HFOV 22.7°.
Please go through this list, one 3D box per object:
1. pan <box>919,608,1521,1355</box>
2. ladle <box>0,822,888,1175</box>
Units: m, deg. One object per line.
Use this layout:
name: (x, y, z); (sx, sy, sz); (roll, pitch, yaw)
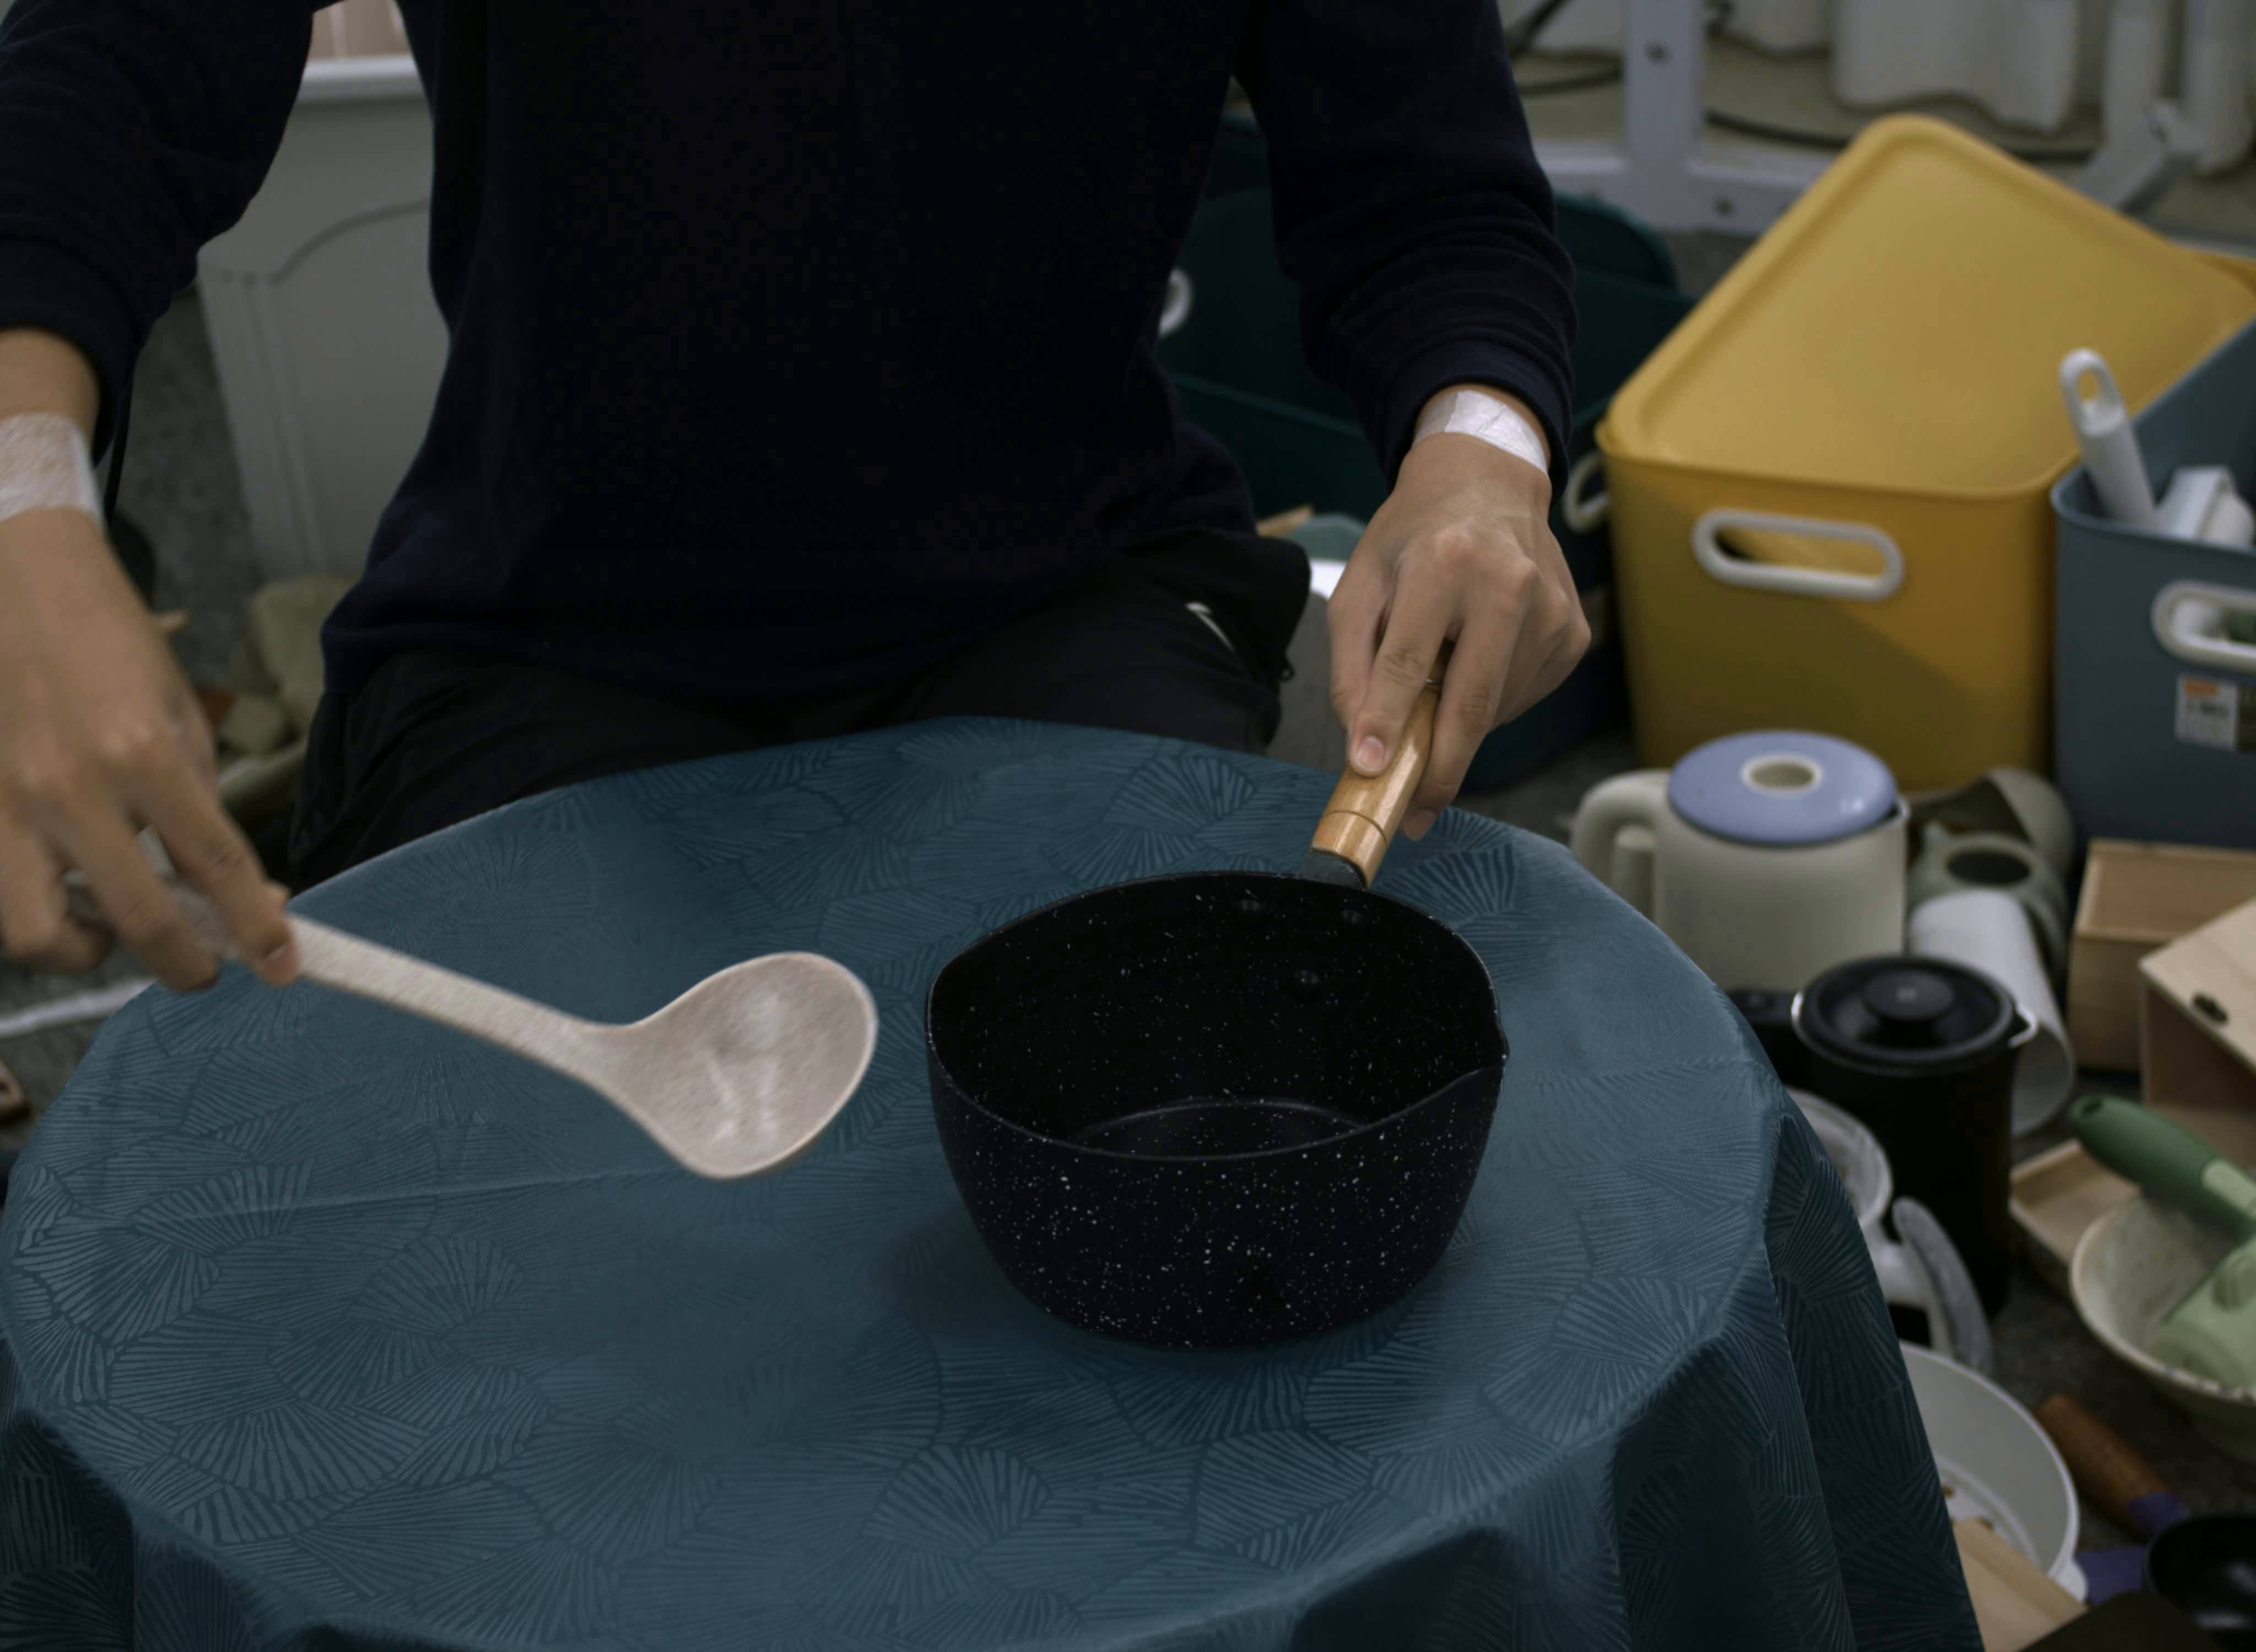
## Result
pan: (0.055, 0.048, 1.882); (0.206, 0.107, 0.349); (6, 30, 19)
ladle: (-0.206, 0.035, 1.719); (0.274, 0.068, 0.091); (22, 44, -22)
